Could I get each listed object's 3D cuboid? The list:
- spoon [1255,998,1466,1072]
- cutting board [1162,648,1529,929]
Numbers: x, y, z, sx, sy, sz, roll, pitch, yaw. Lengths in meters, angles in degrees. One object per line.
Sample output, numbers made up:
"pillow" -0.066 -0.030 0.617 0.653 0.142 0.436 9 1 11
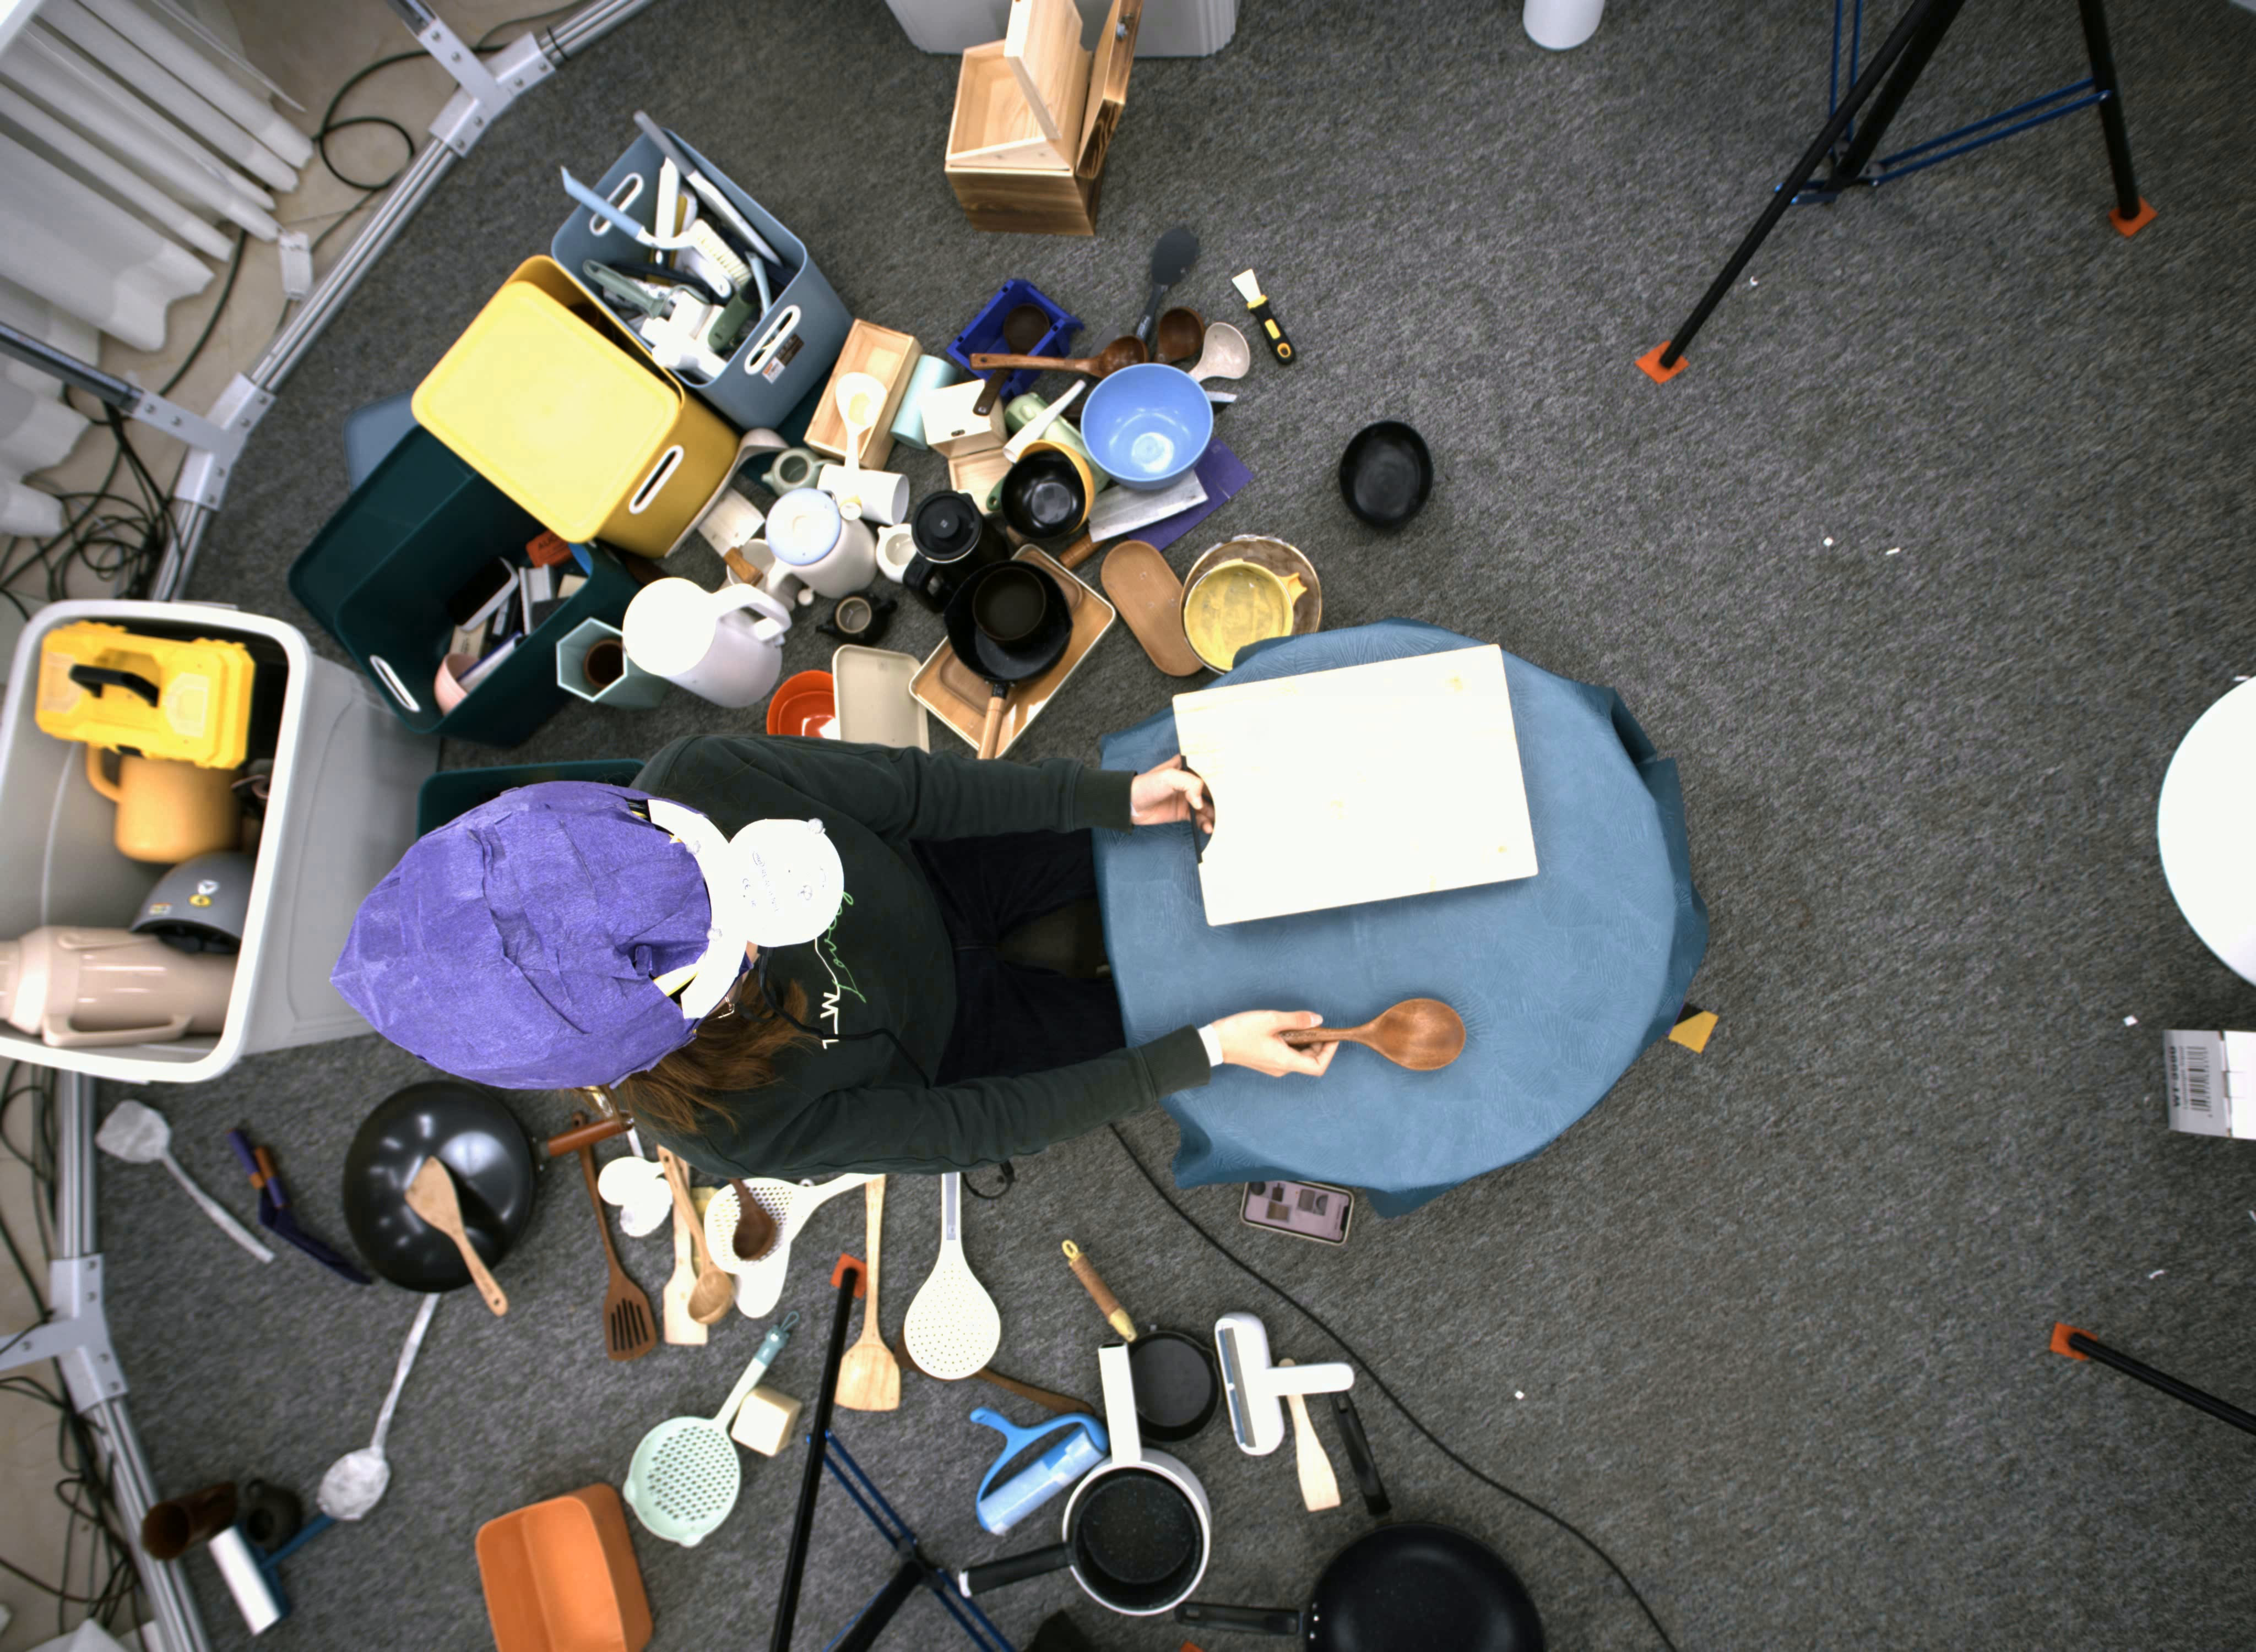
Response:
"spoon" 0.238 0.214 1.420 0.216 0.017 0.075 0 85 1
"cutting board" 0.225 -0.040 1.416 0.349 0.023 0.250 -10 88 3
